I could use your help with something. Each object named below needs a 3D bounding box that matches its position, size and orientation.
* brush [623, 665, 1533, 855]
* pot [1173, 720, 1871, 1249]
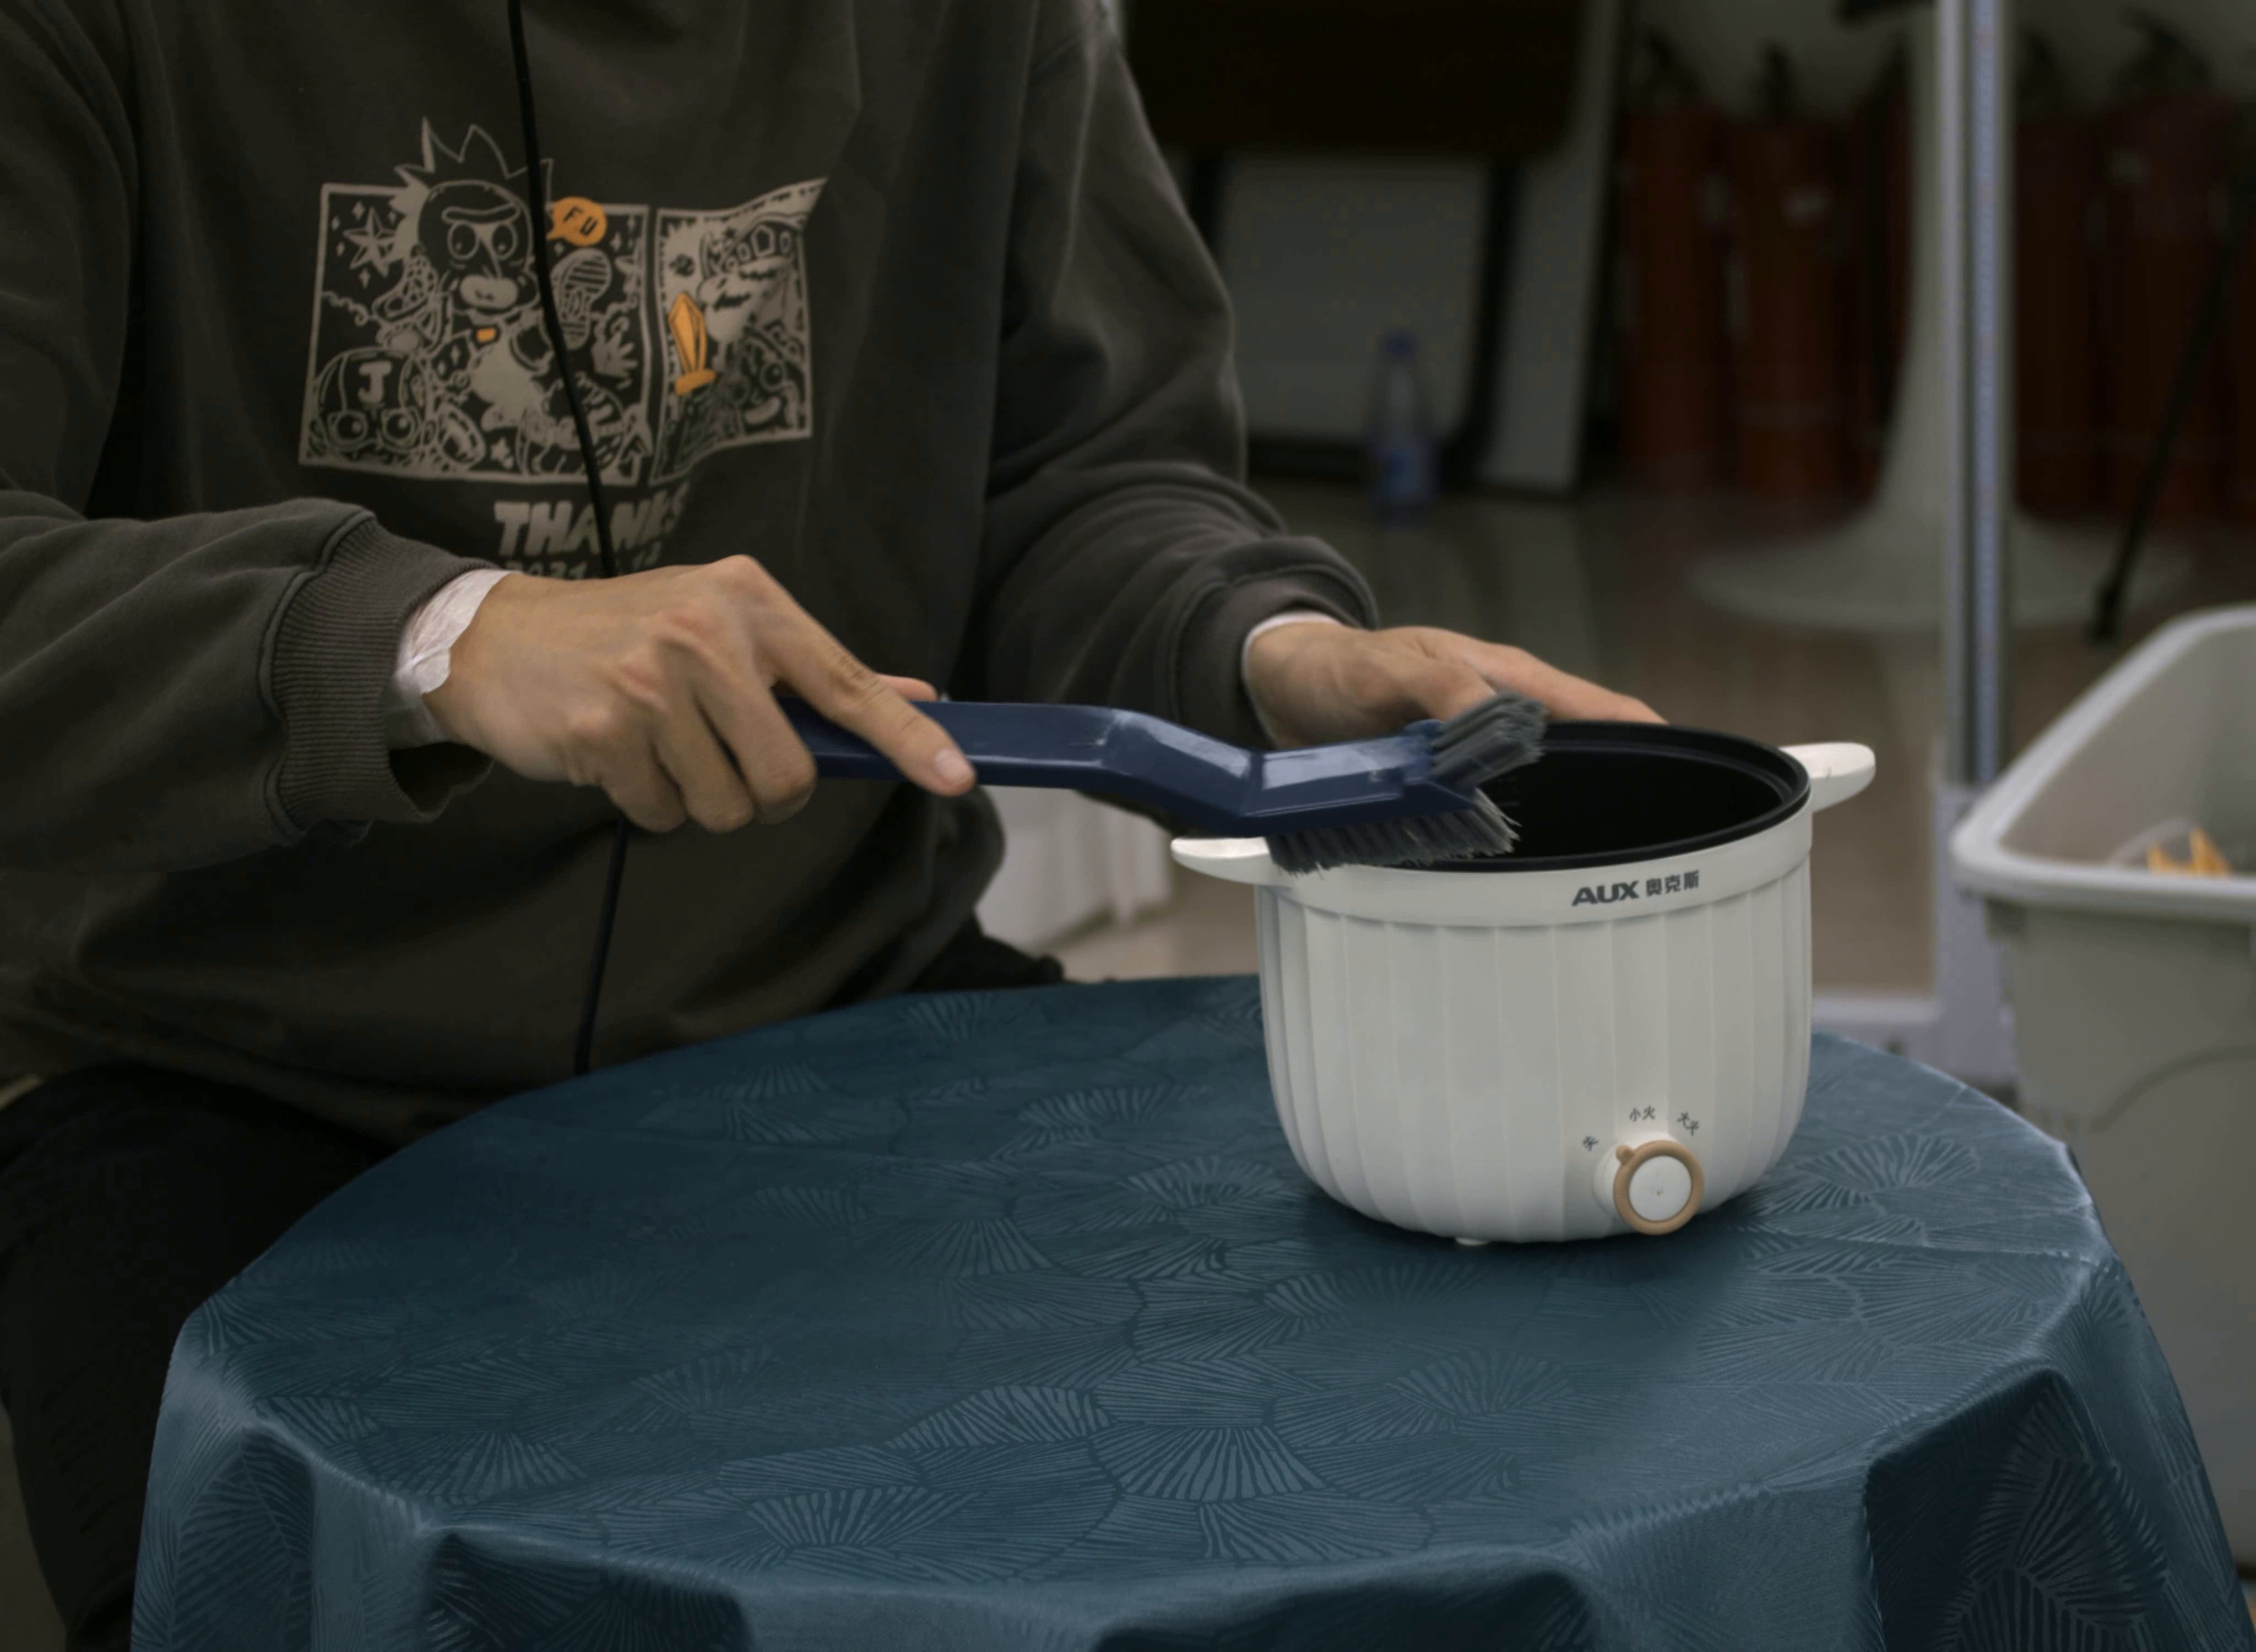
[{"bbox_3d":[-0.017,-0.031,1.604,0.270,0.096,0.034,8,56,5],"label":"brush"},{"bbox_3d":[0.134,0.052,1.725,0.236,0.144,0.192,-9,11,-15],"label":"pot"}]
